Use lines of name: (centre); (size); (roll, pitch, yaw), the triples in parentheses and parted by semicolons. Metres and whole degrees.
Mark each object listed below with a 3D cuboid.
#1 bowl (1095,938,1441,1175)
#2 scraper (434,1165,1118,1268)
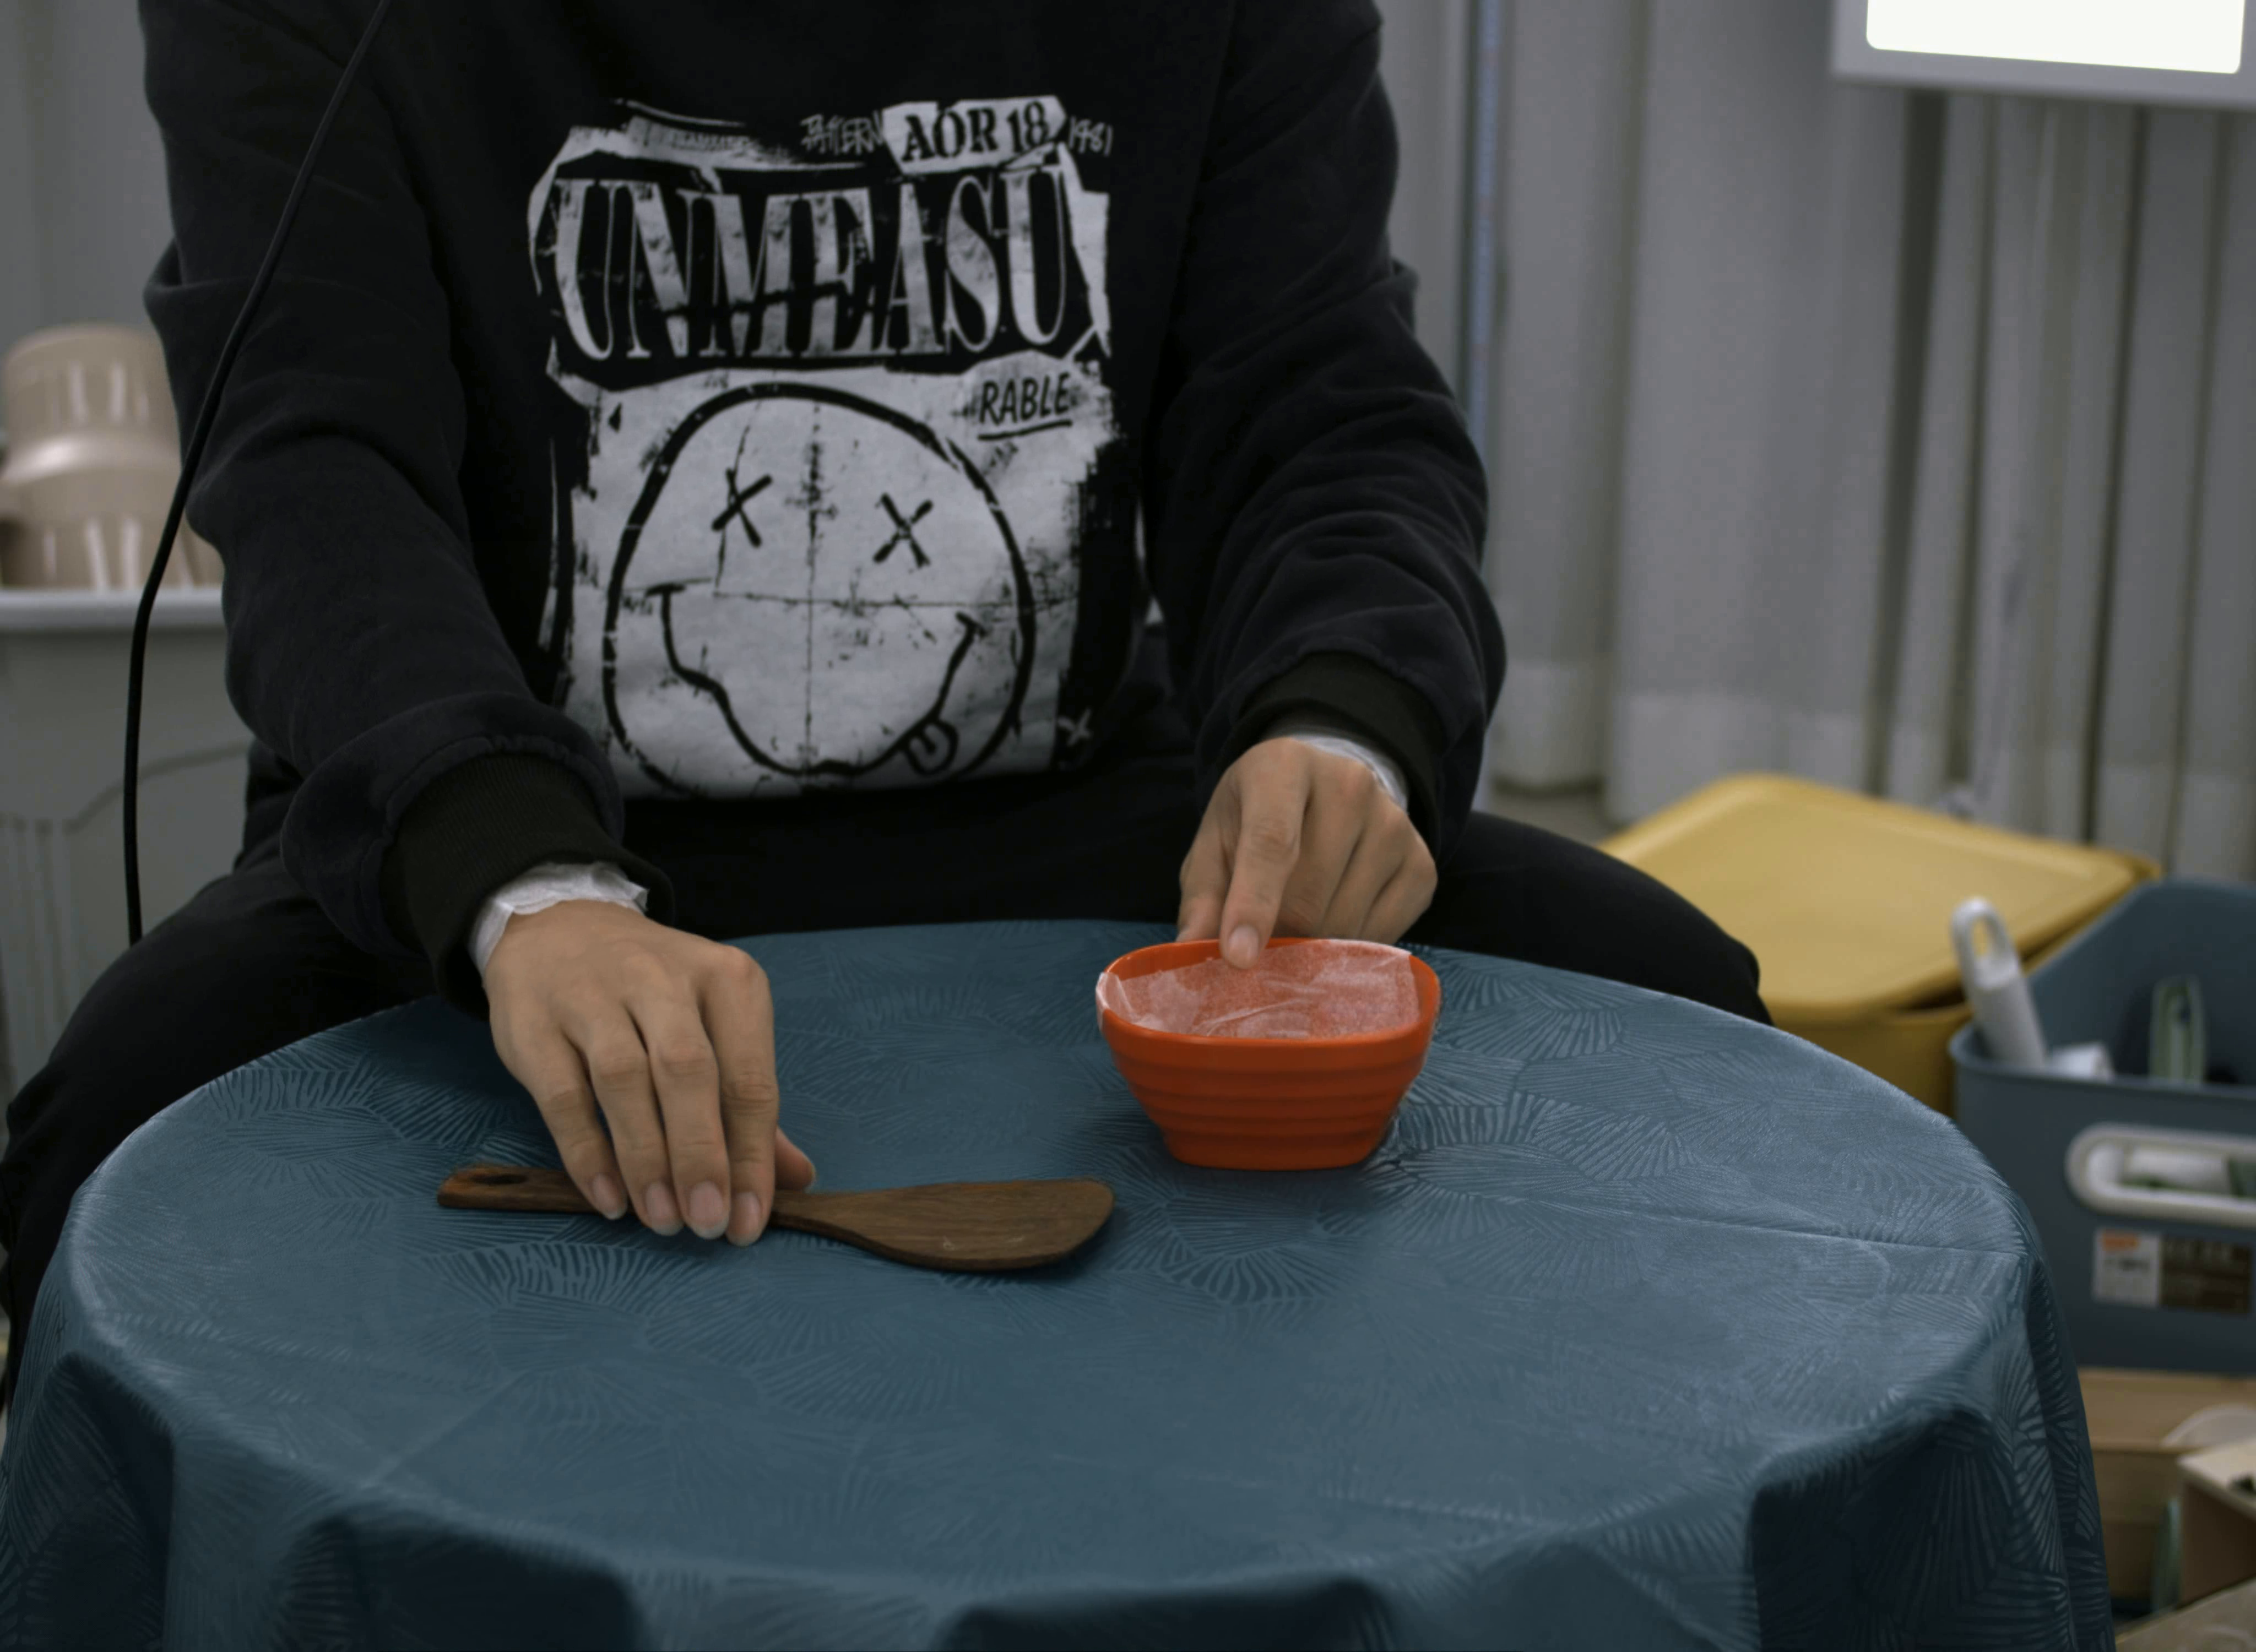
bowl: (0.044, 0.076, 1.670); (0.118, 0.052, 0.118); (0, 17, 0)
scraper: (-0.109, 0.115, 1.598); (0.210, 0.011, 0.076); (3, 15, 11)
